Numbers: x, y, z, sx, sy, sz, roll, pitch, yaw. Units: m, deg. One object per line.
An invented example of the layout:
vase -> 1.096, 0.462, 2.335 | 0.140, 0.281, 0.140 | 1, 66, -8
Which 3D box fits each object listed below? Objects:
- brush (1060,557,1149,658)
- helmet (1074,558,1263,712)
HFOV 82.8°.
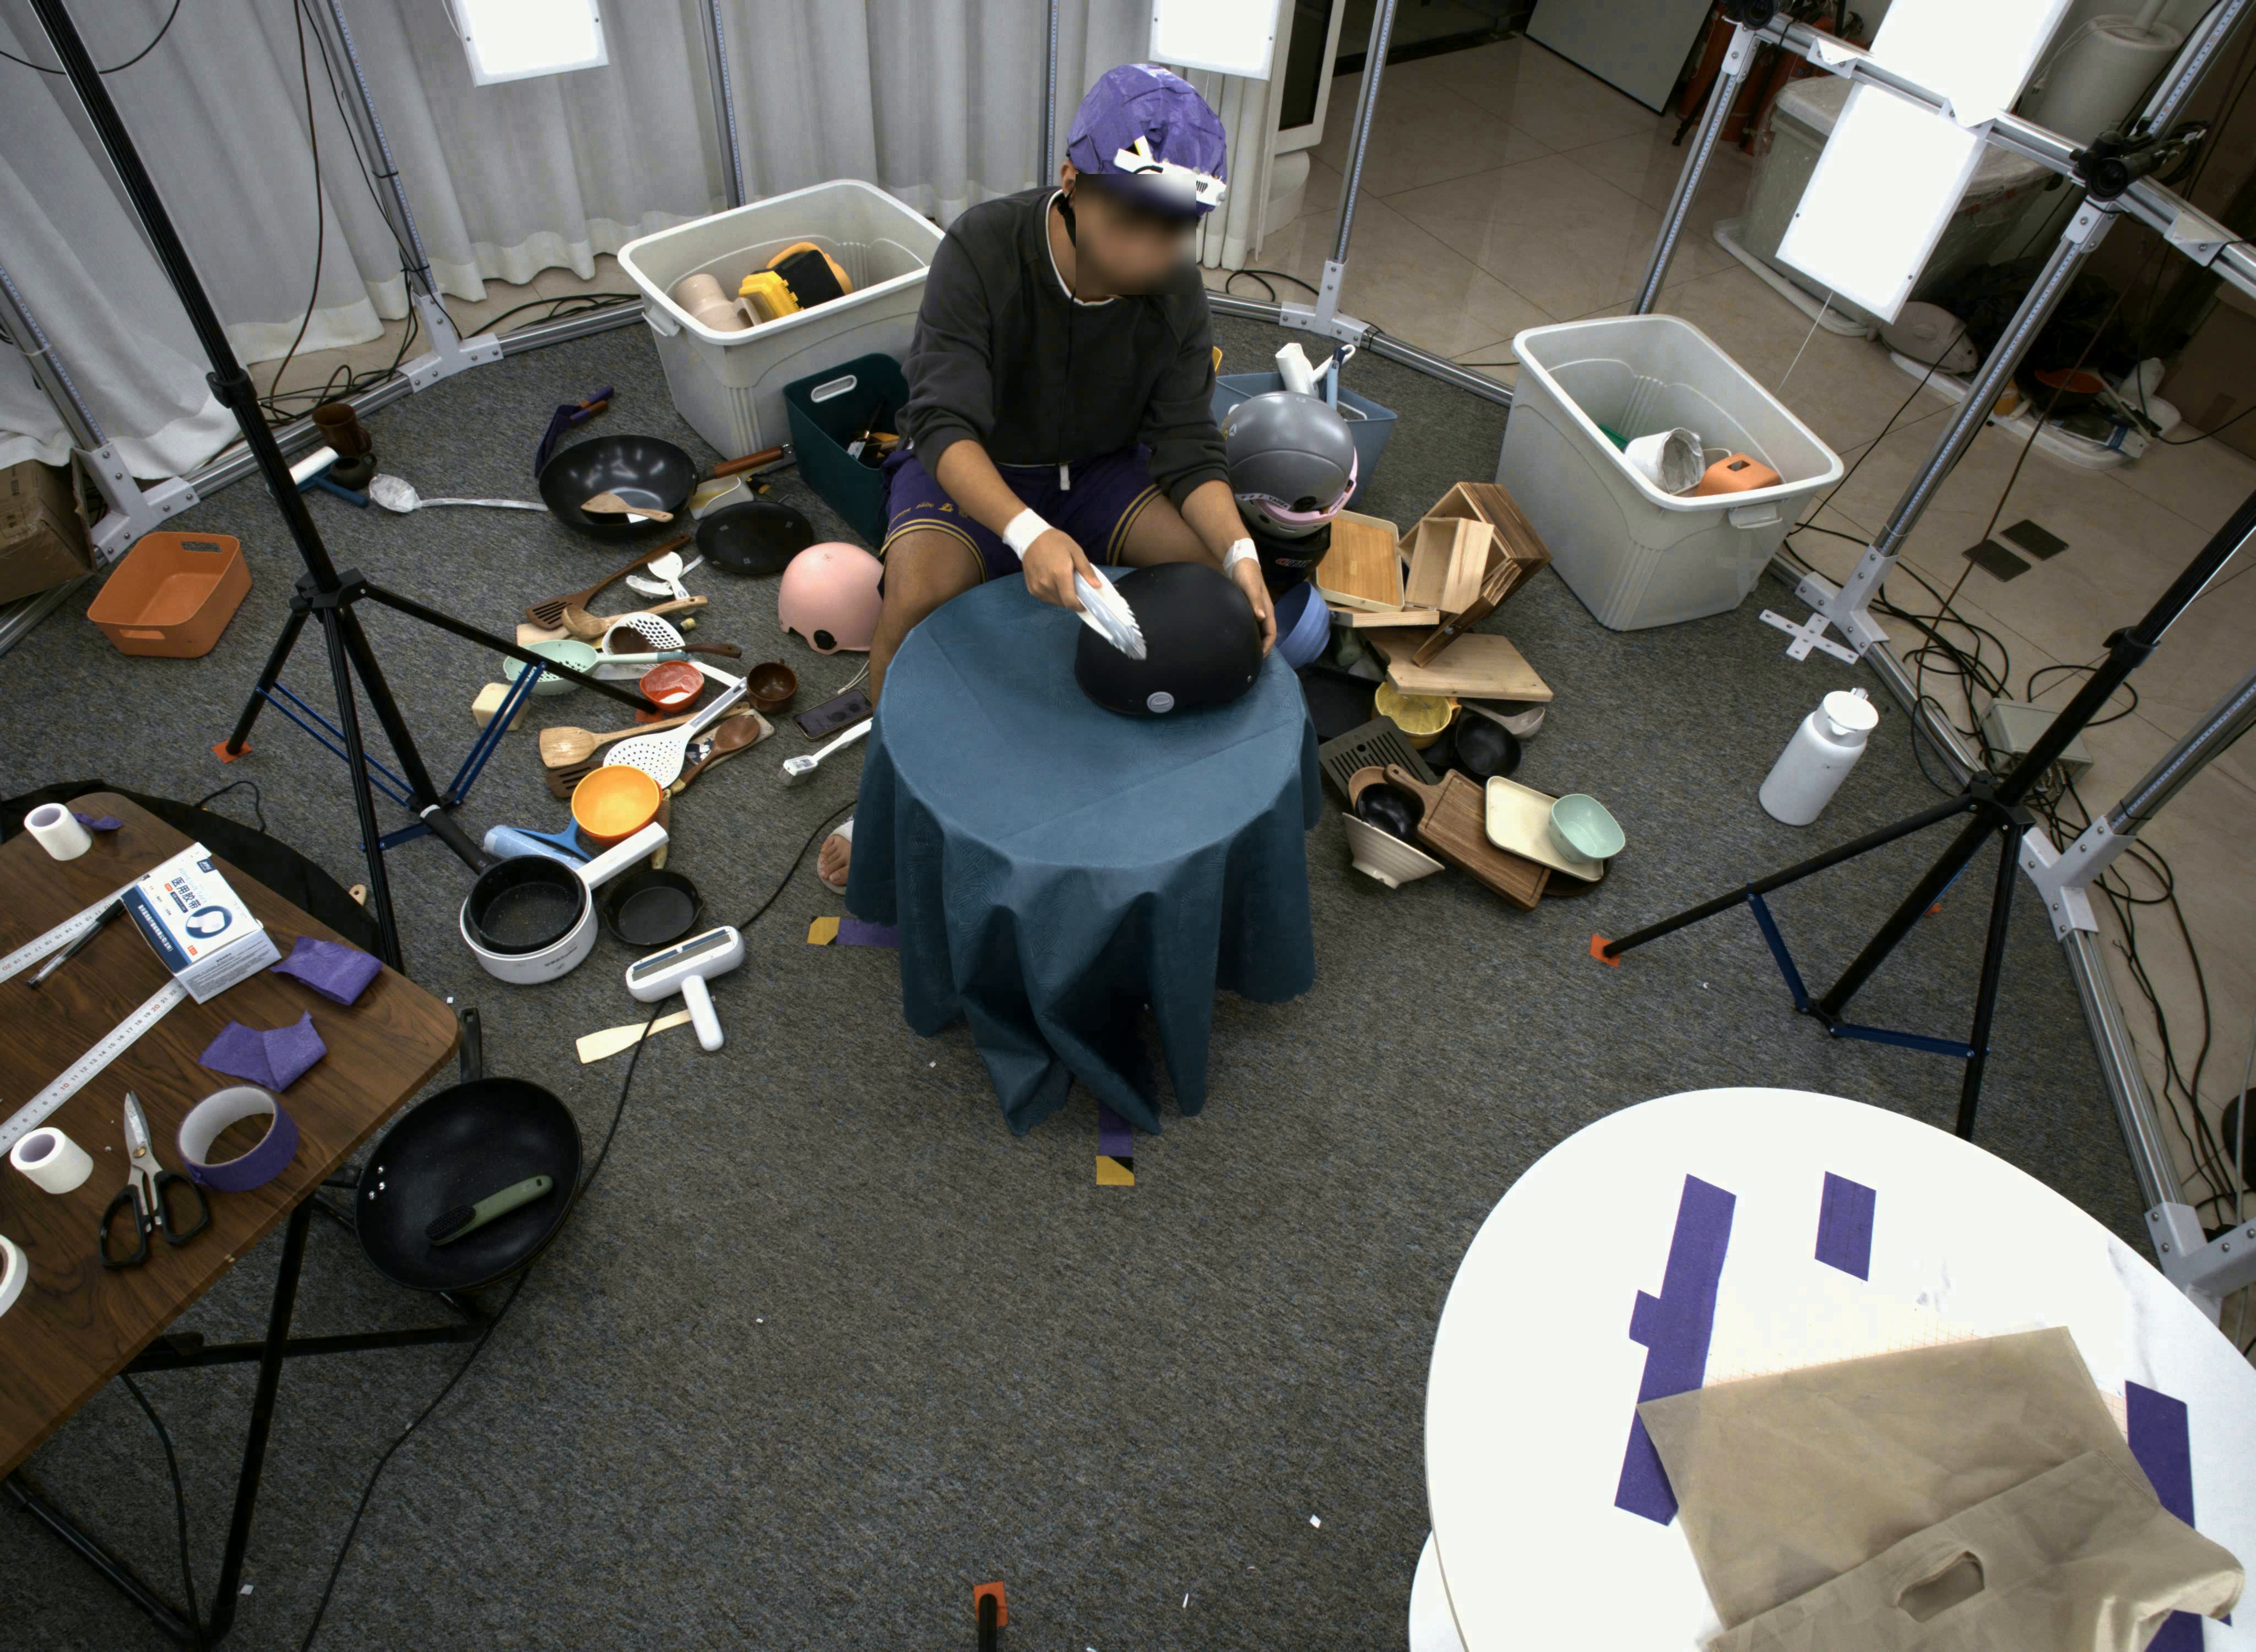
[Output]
brush -> -0.035, -0.295, 1.714 | 0.061, 0.093, 0.179 | -42, 55, 13
helmet -> 0.059, -0.284, 1.814 | 0.273, 0.163, 0.236 | -8, 49, -8
